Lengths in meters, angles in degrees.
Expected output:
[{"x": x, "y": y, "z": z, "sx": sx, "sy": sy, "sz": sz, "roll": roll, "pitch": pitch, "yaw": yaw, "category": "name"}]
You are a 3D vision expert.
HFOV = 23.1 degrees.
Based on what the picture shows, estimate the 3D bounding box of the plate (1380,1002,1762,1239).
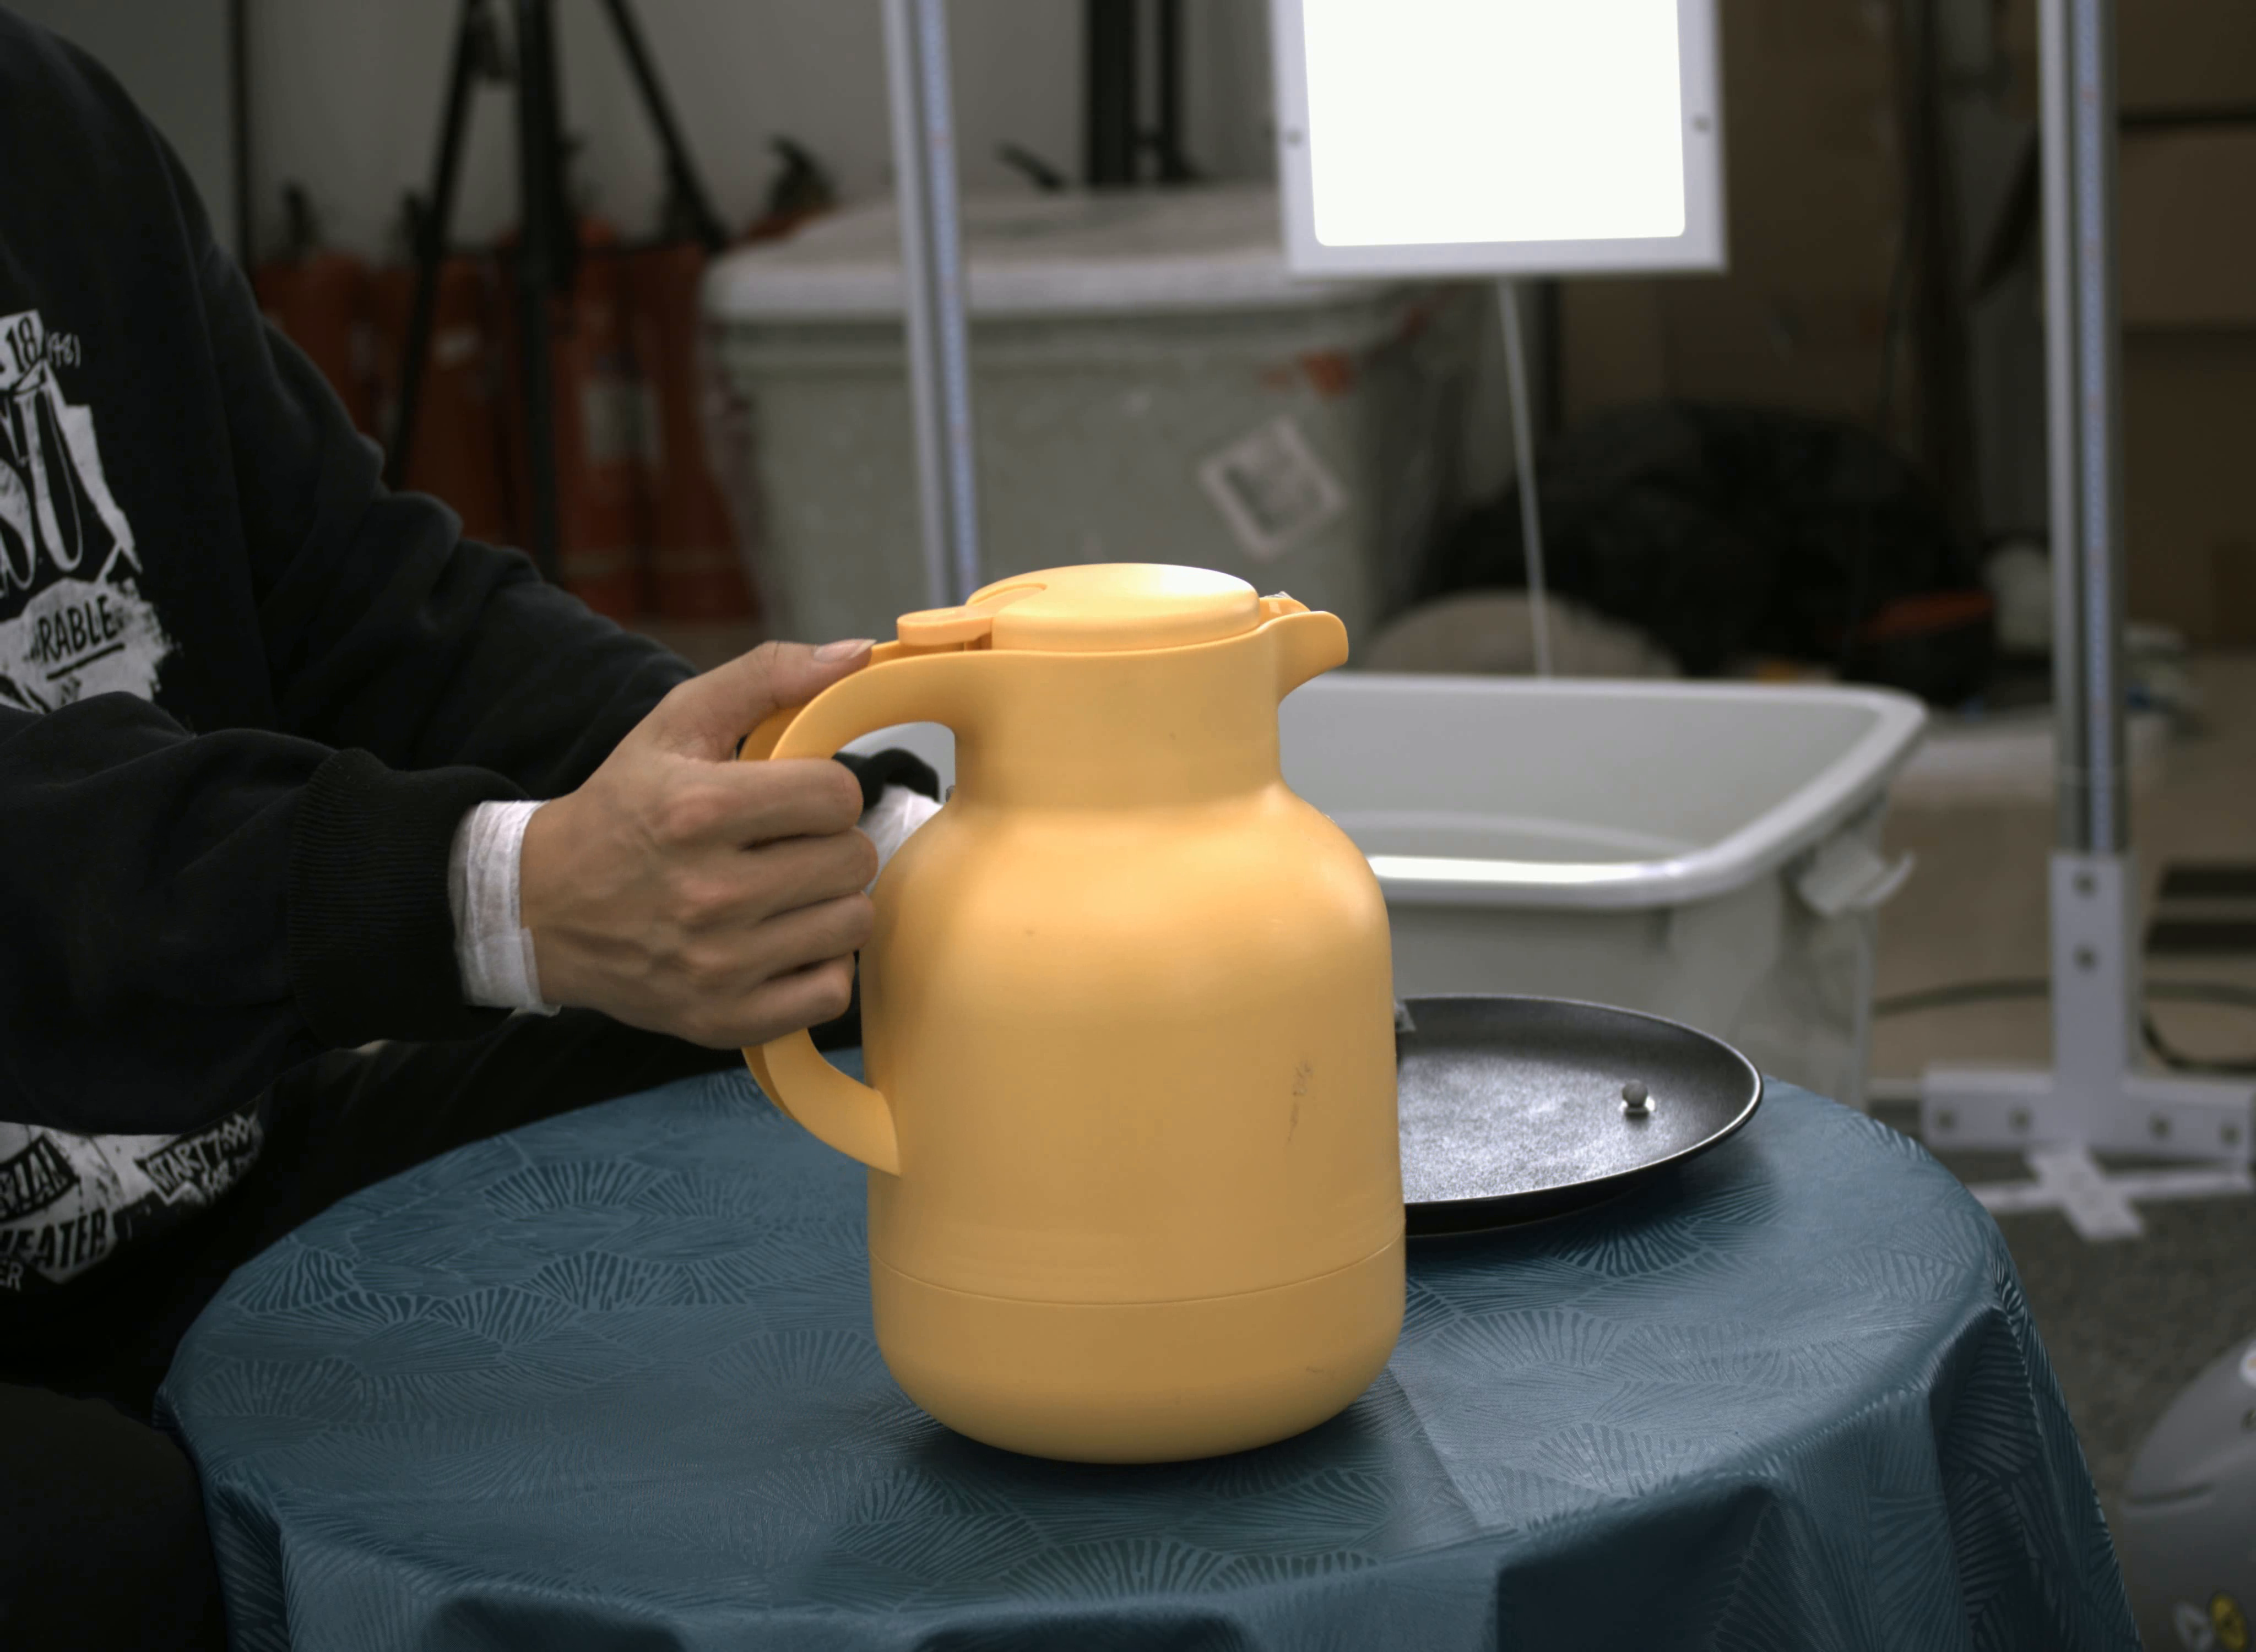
[{"x": 0.099, "y": 0.104, "z": 1.905, "sx": 0.244, "sy": 0.023, "sz": 0.244, "roll": -5, "pitch": 14, "yaw": 0, "category": "plate"}]

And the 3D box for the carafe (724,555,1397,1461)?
[{"x": -0.020, "y": 0.052, "z": 1.646, "sx": 0.199, "sy": 0.261, "sz": 0.165, "roll": -4, "pitch": 10, "yaw": -16, "category": "carafe"}]
